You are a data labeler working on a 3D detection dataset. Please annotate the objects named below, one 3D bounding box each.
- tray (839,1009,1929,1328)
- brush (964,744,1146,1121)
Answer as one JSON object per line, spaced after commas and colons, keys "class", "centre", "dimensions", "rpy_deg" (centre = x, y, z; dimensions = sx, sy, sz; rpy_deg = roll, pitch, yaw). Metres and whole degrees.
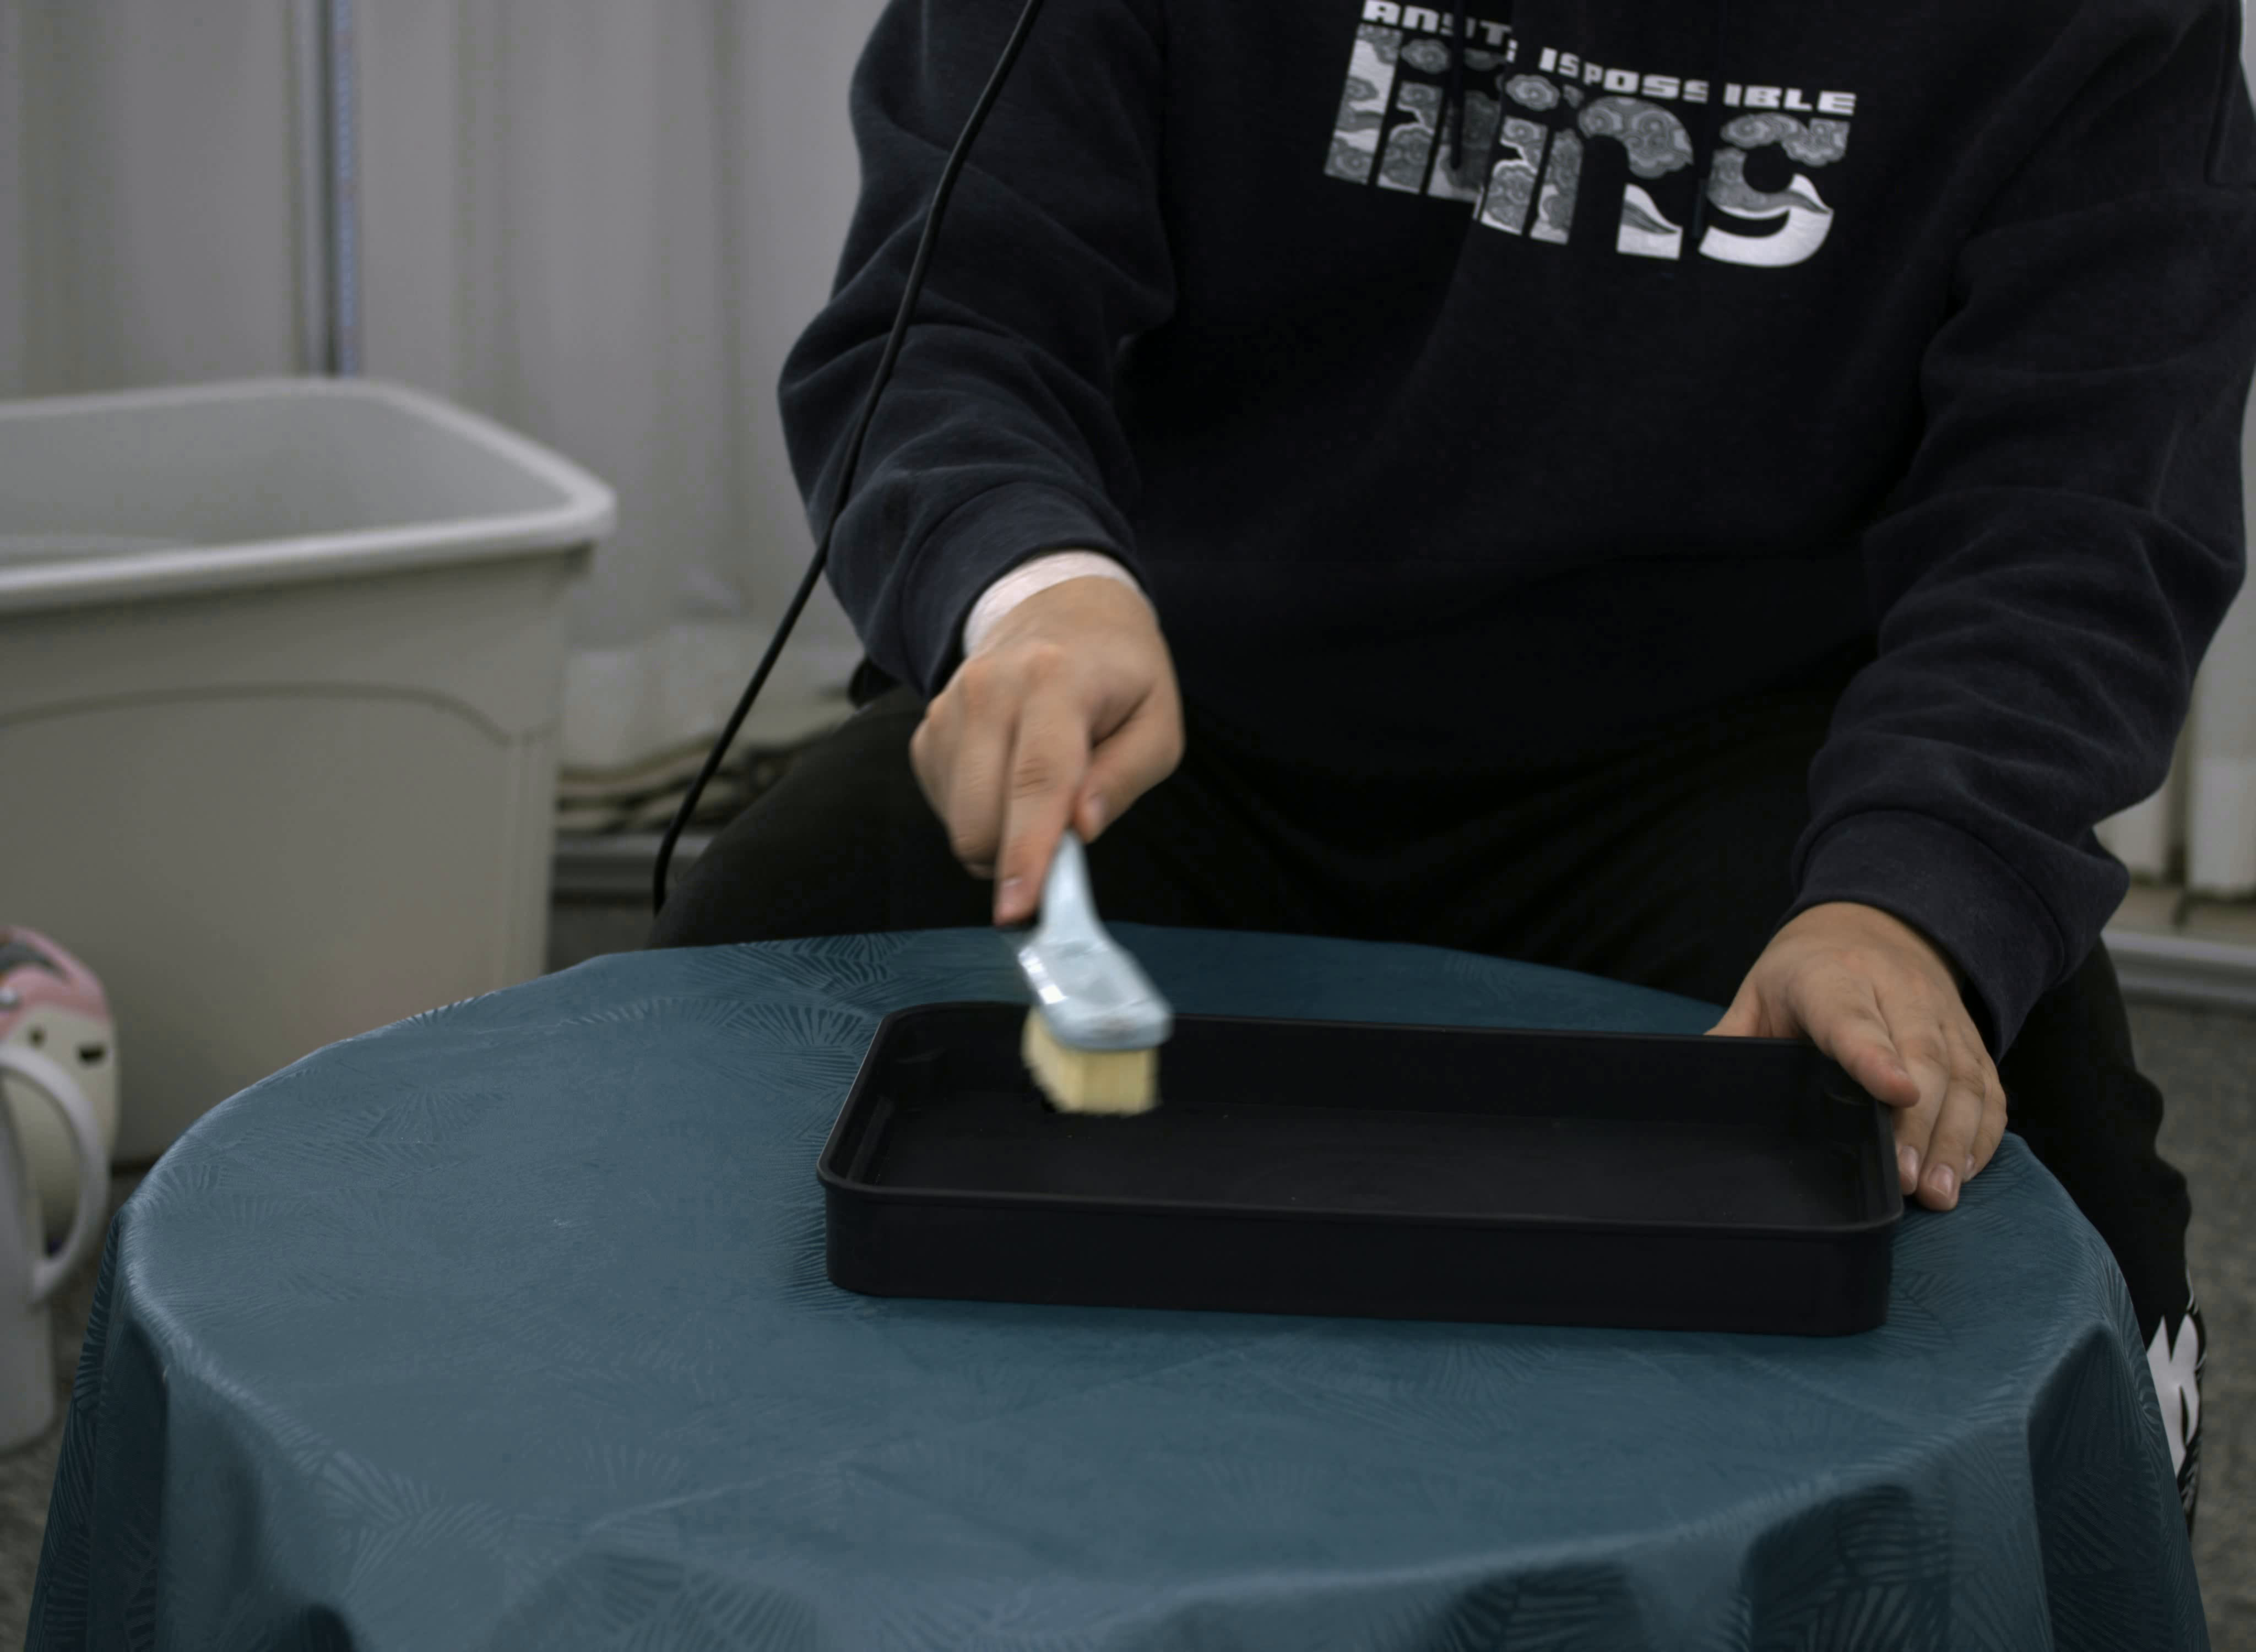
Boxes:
{"class": "tray", "centre": [0.078, 0.102, 1.601], "dimensions": [0.316, 0.037, 0.183], "rpy_deg": [1, 15, 3]}
{"class": "brush", "centre": [-0.029, 0.031, 1.638], "dimensions": [0.038, 0.050, 0.226], "rpy_deg": [2, 25, -11]}
